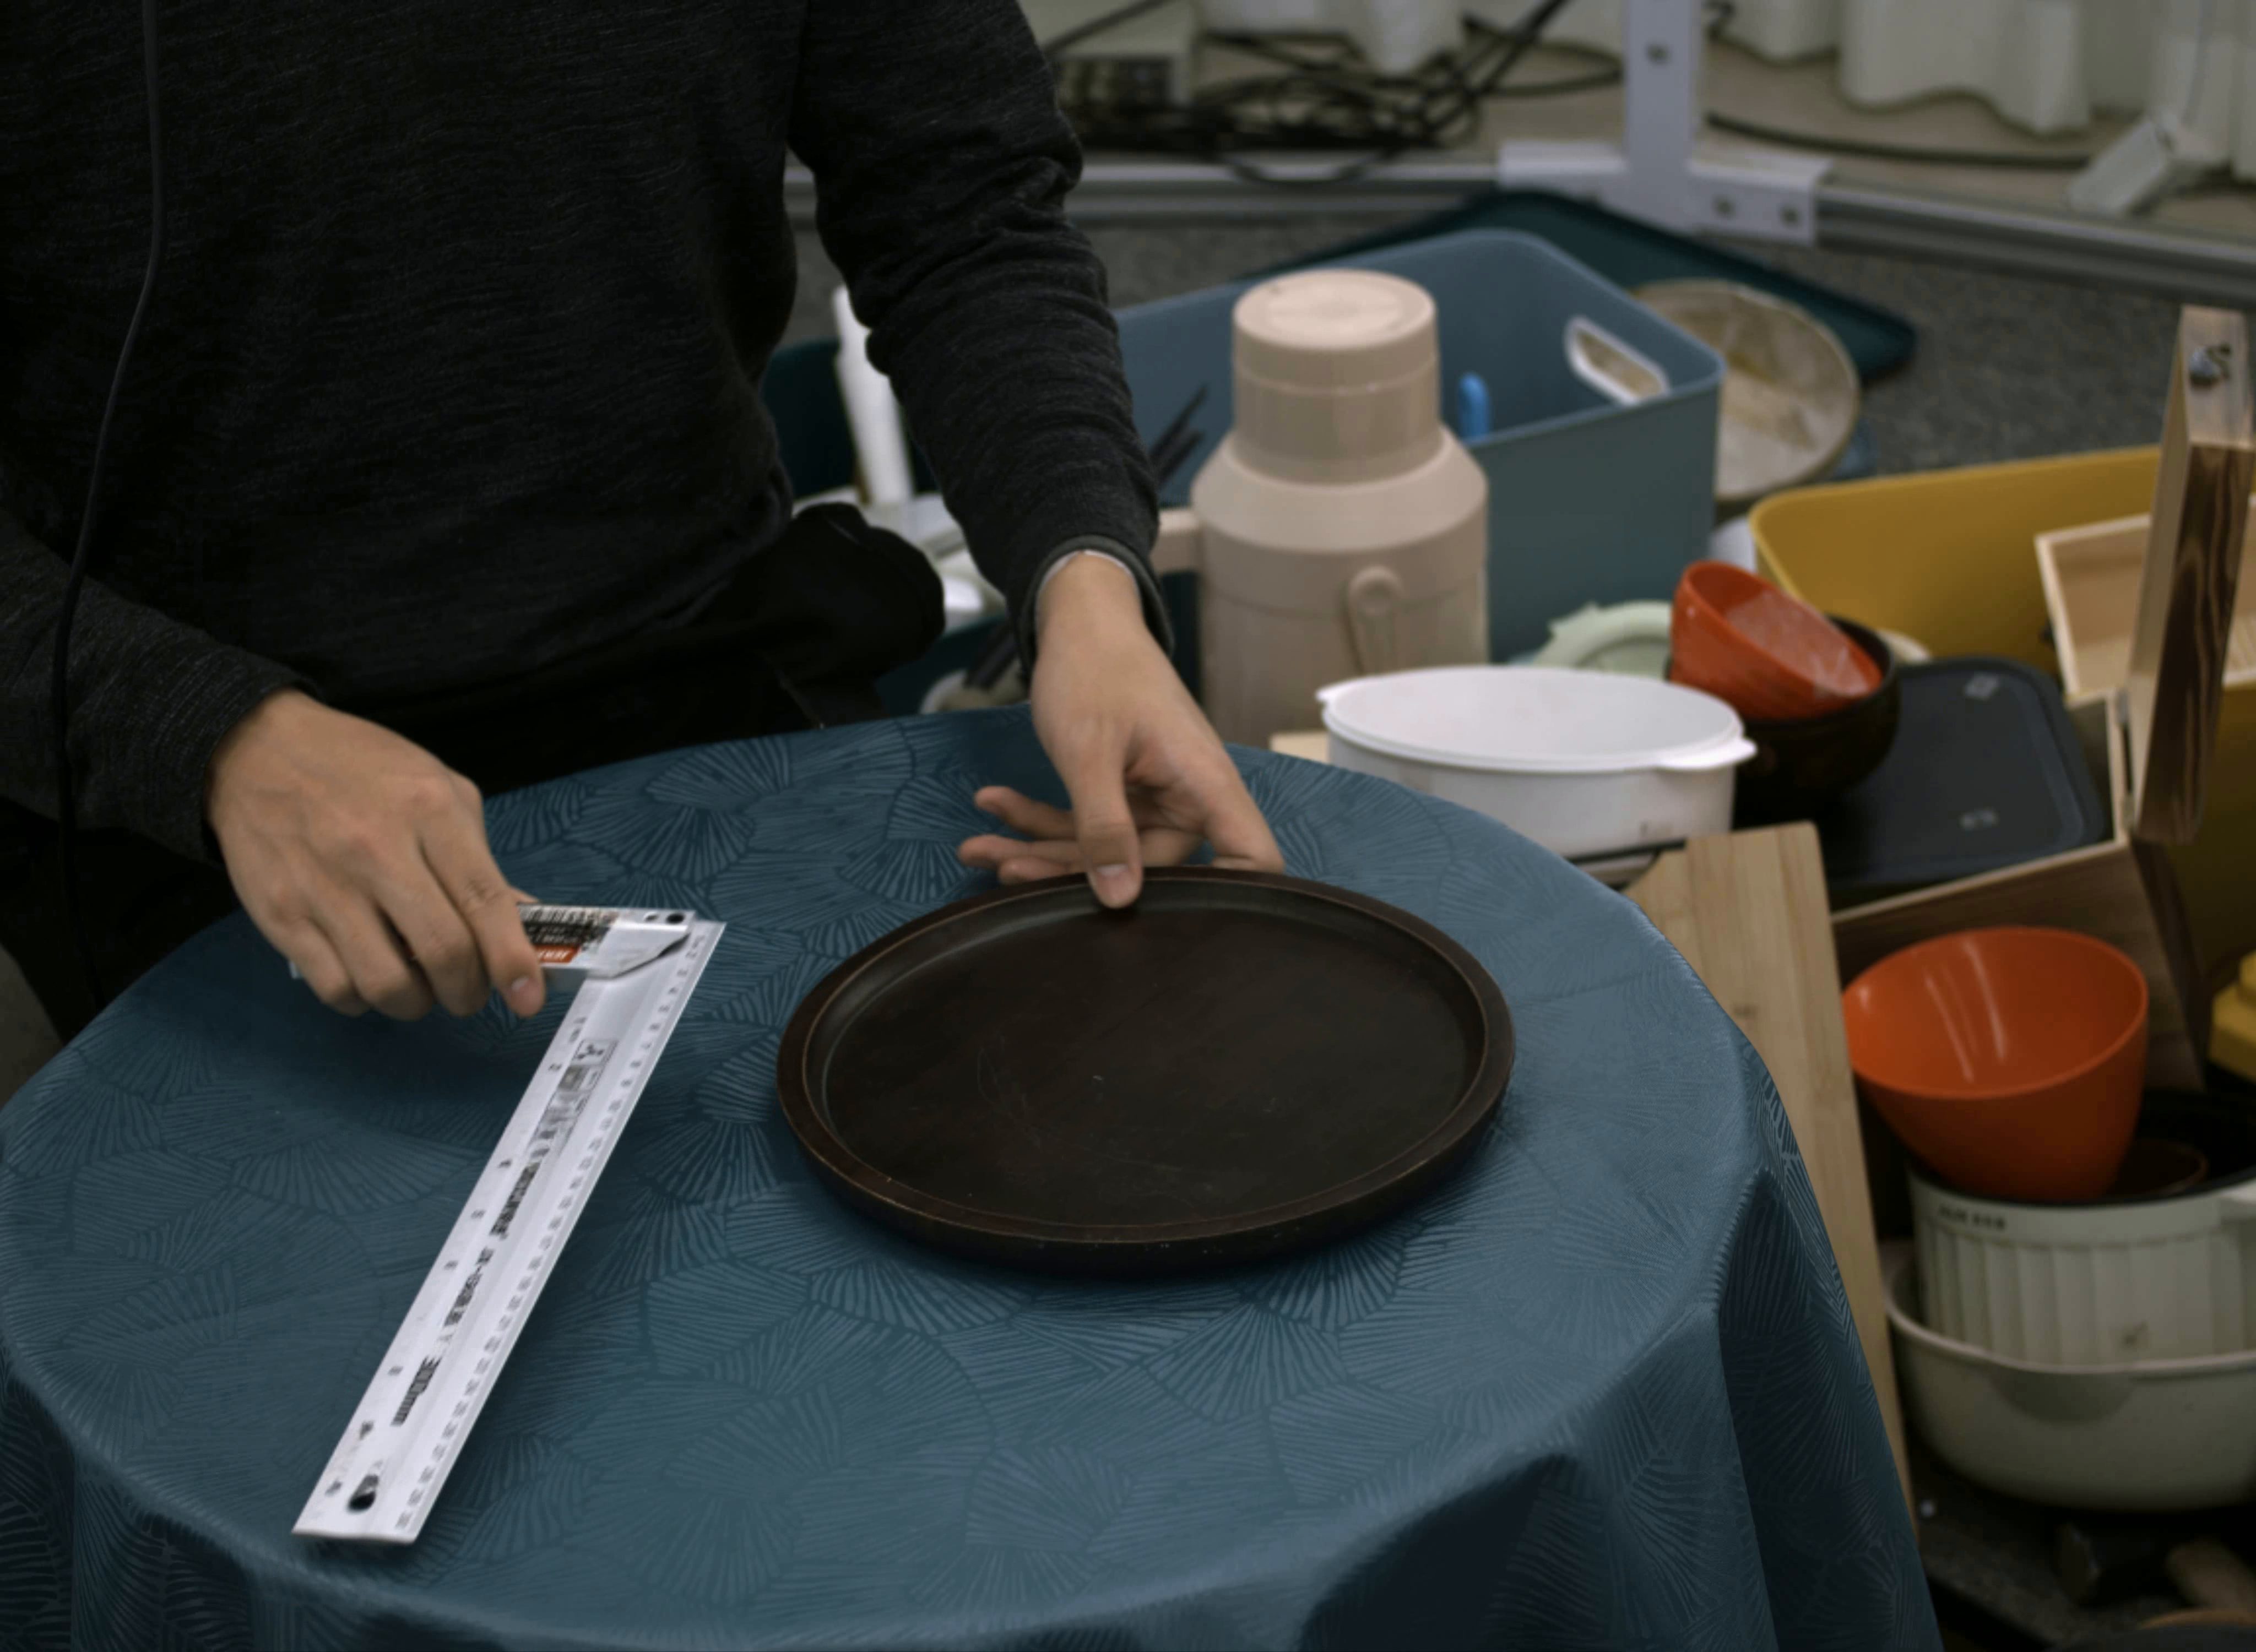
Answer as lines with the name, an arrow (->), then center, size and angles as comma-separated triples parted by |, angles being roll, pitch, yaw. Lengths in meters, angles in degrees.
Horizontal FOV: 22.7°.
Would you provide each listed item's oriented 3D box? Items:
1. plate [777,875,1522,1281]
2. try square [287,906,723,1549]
plate -> 0.007, 0.083, 1.910 | 0.253, 0.029, 0.259 | -2, 28, 2
try square -> -0.247, 0.124, 1.822 | 0.151, 0.015, 0.319 | 1, 35, 17
